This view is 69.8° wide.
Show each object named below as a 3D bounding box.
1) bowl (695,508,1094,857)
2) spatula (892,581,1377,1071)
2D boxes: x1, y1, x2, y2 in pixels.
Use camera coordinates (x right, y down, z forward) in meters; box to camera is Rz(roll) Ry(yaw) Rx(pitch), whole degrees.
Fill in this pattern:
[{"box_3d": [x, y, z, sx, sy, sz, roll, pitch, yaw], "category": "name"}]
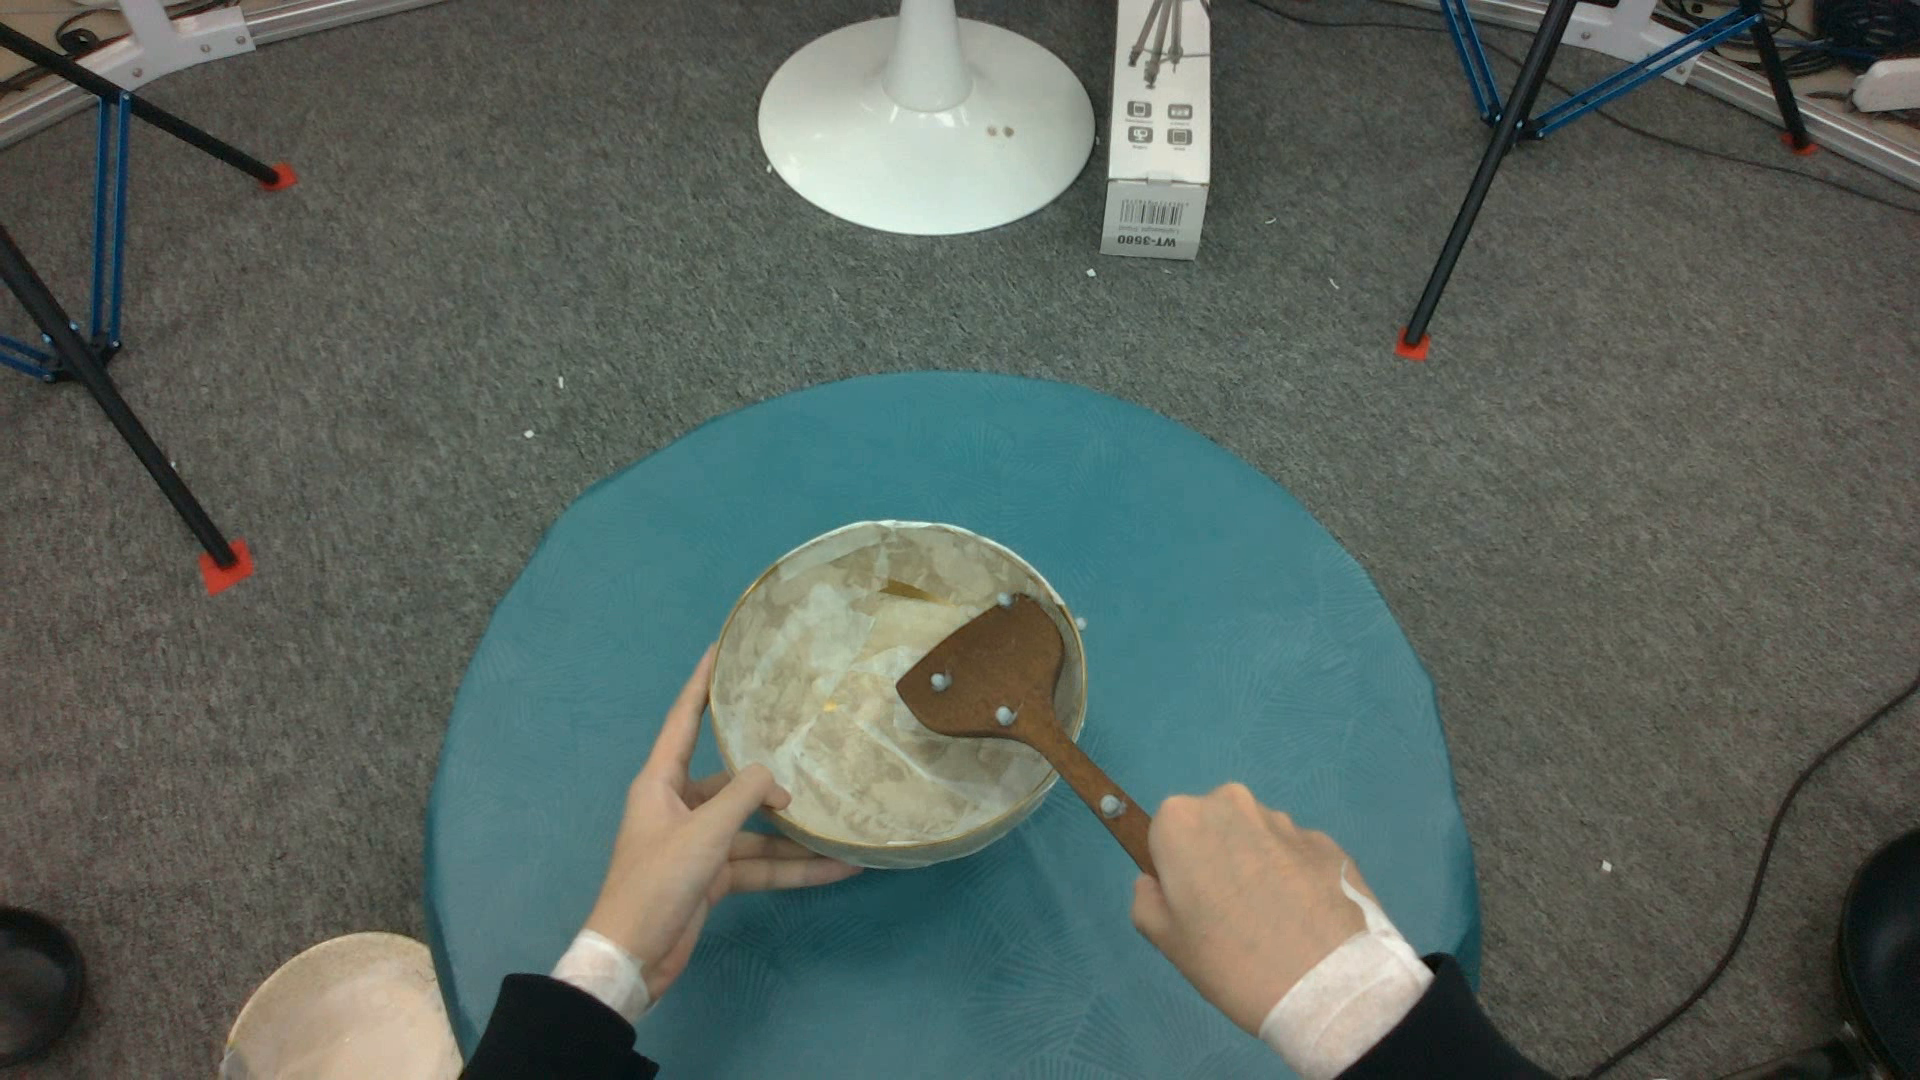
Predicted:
[{"box_3d": [-0.037, 0.091, 0.755, 0.215, 0.094, 0.215, 2, 54, -2], "category": "bowl"}, {"box_3d": [0.064, 0.111, 0.627, 0.096, 0.016, 0.386, -38, 28, -6], "category": "spatula"}]
